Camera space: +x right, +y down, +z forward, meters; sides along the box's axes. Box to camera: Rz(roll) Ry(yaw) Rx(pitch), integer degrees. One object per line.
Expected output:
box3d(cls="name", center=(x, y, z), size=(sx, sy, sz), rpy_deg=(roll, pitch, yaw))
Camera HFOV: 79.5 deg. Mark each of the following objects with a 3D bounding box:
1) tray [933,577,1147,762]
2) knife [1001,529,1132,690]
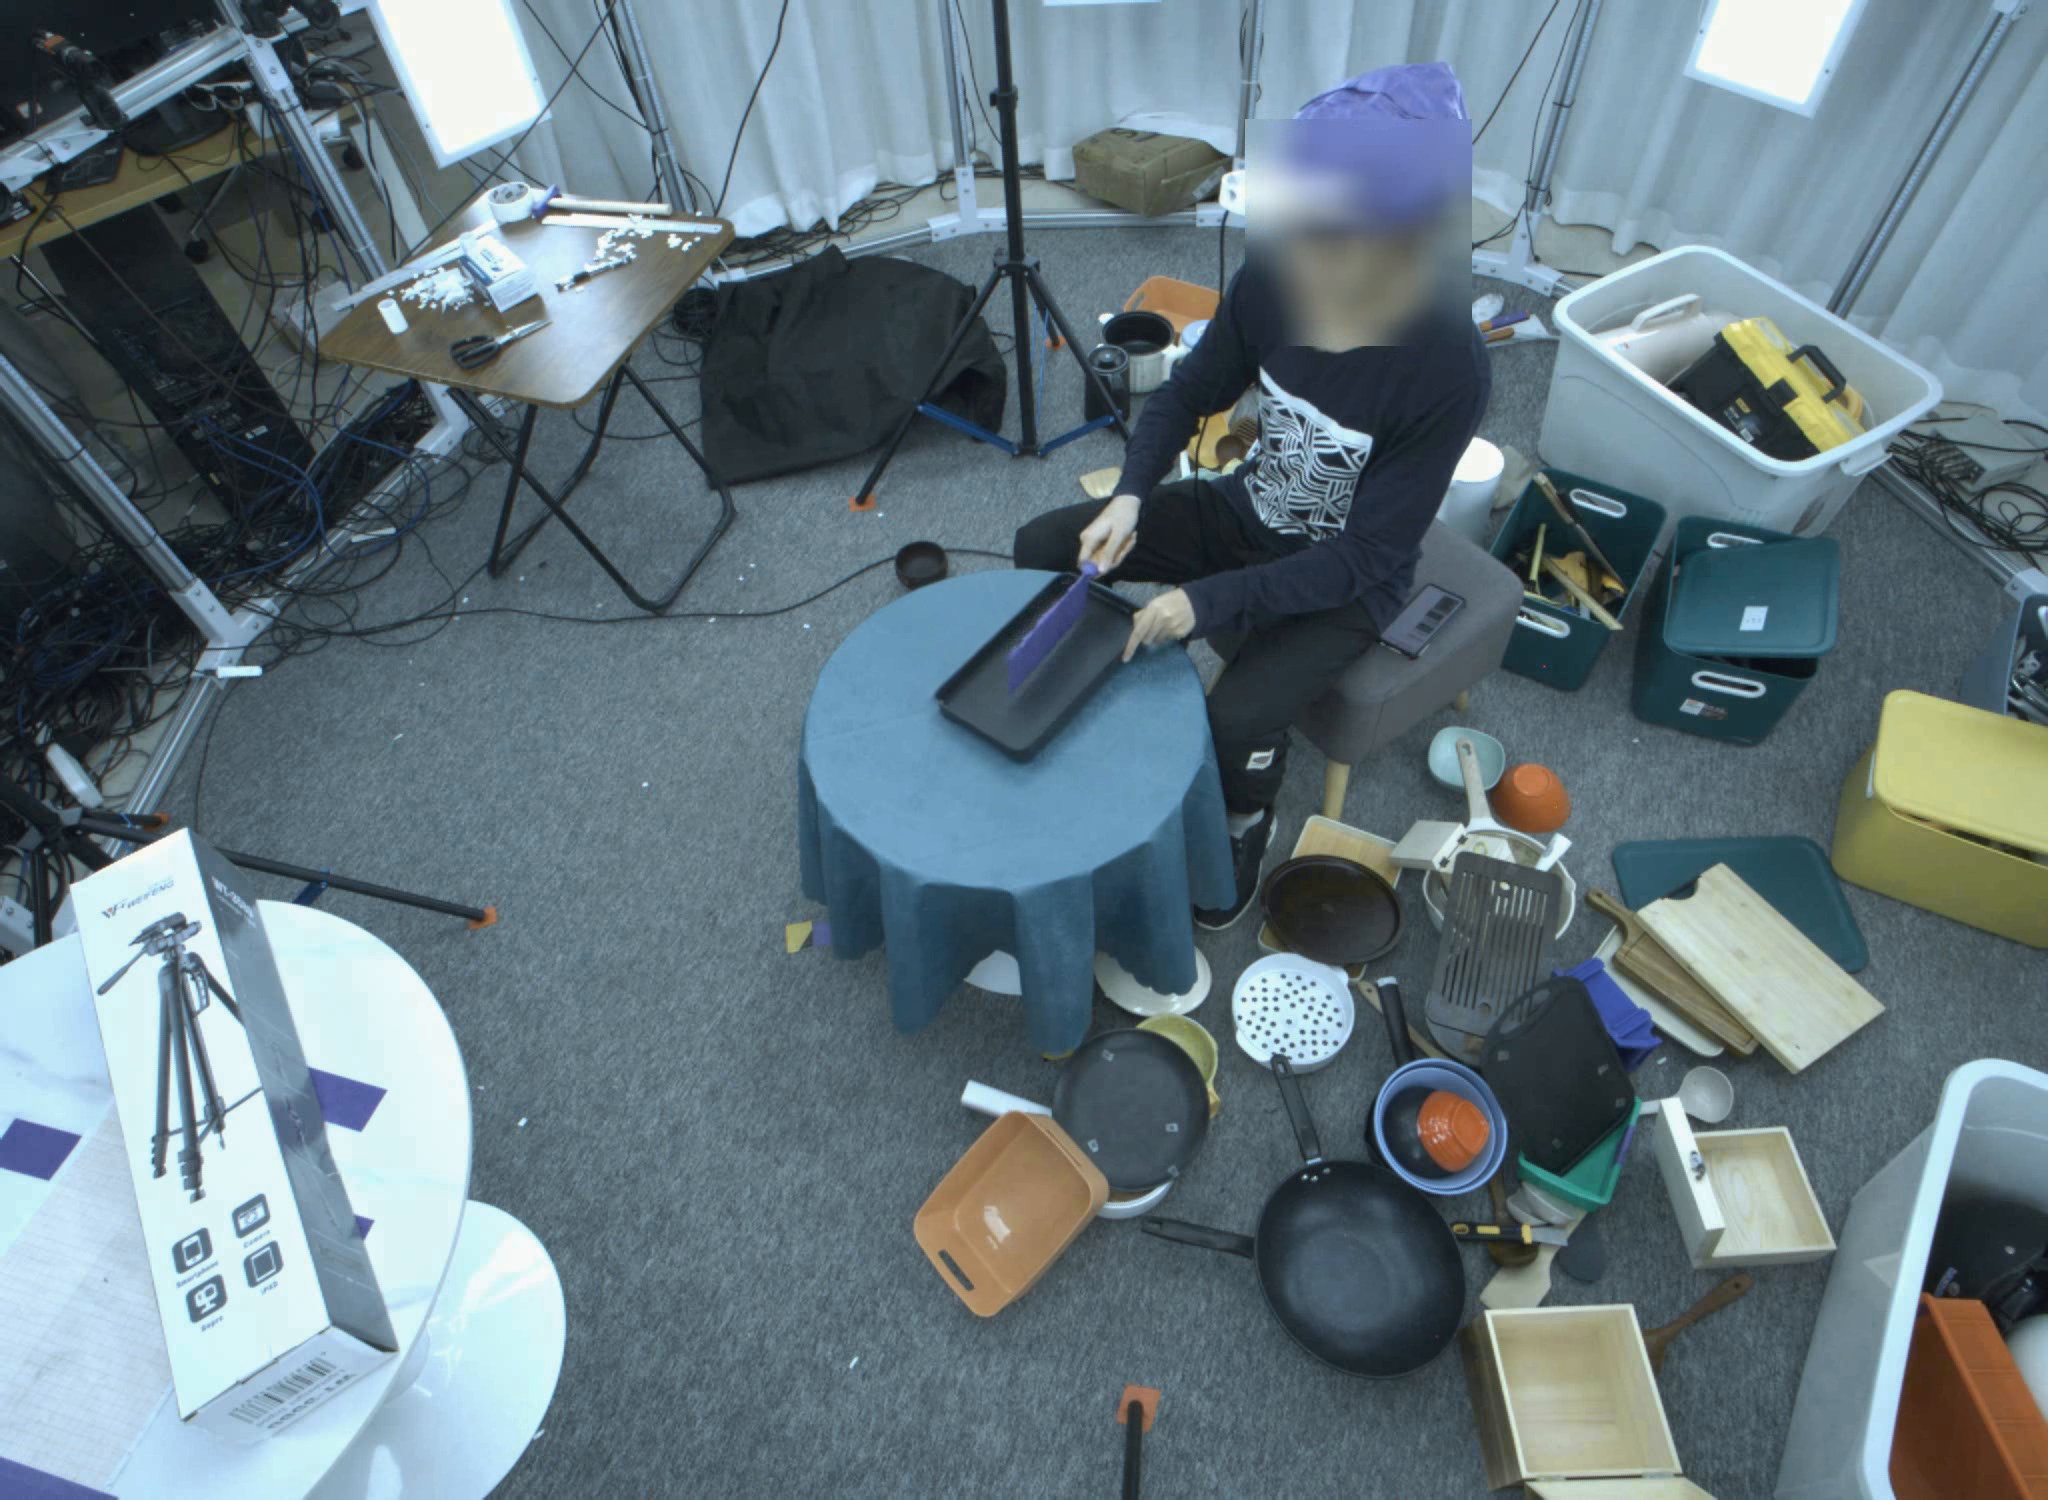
box3d(cls="tray", center=(0.027, -0.128, 1.852), size=(0.181, 0.037, 0.319), rpy_deg=(30, 62, 26))
box3d(cls="knife", center=(0.060, -0.213, 1.851), size=(0.032, 0.104, 0.317), rpy_deg=(33, 61, 18))
